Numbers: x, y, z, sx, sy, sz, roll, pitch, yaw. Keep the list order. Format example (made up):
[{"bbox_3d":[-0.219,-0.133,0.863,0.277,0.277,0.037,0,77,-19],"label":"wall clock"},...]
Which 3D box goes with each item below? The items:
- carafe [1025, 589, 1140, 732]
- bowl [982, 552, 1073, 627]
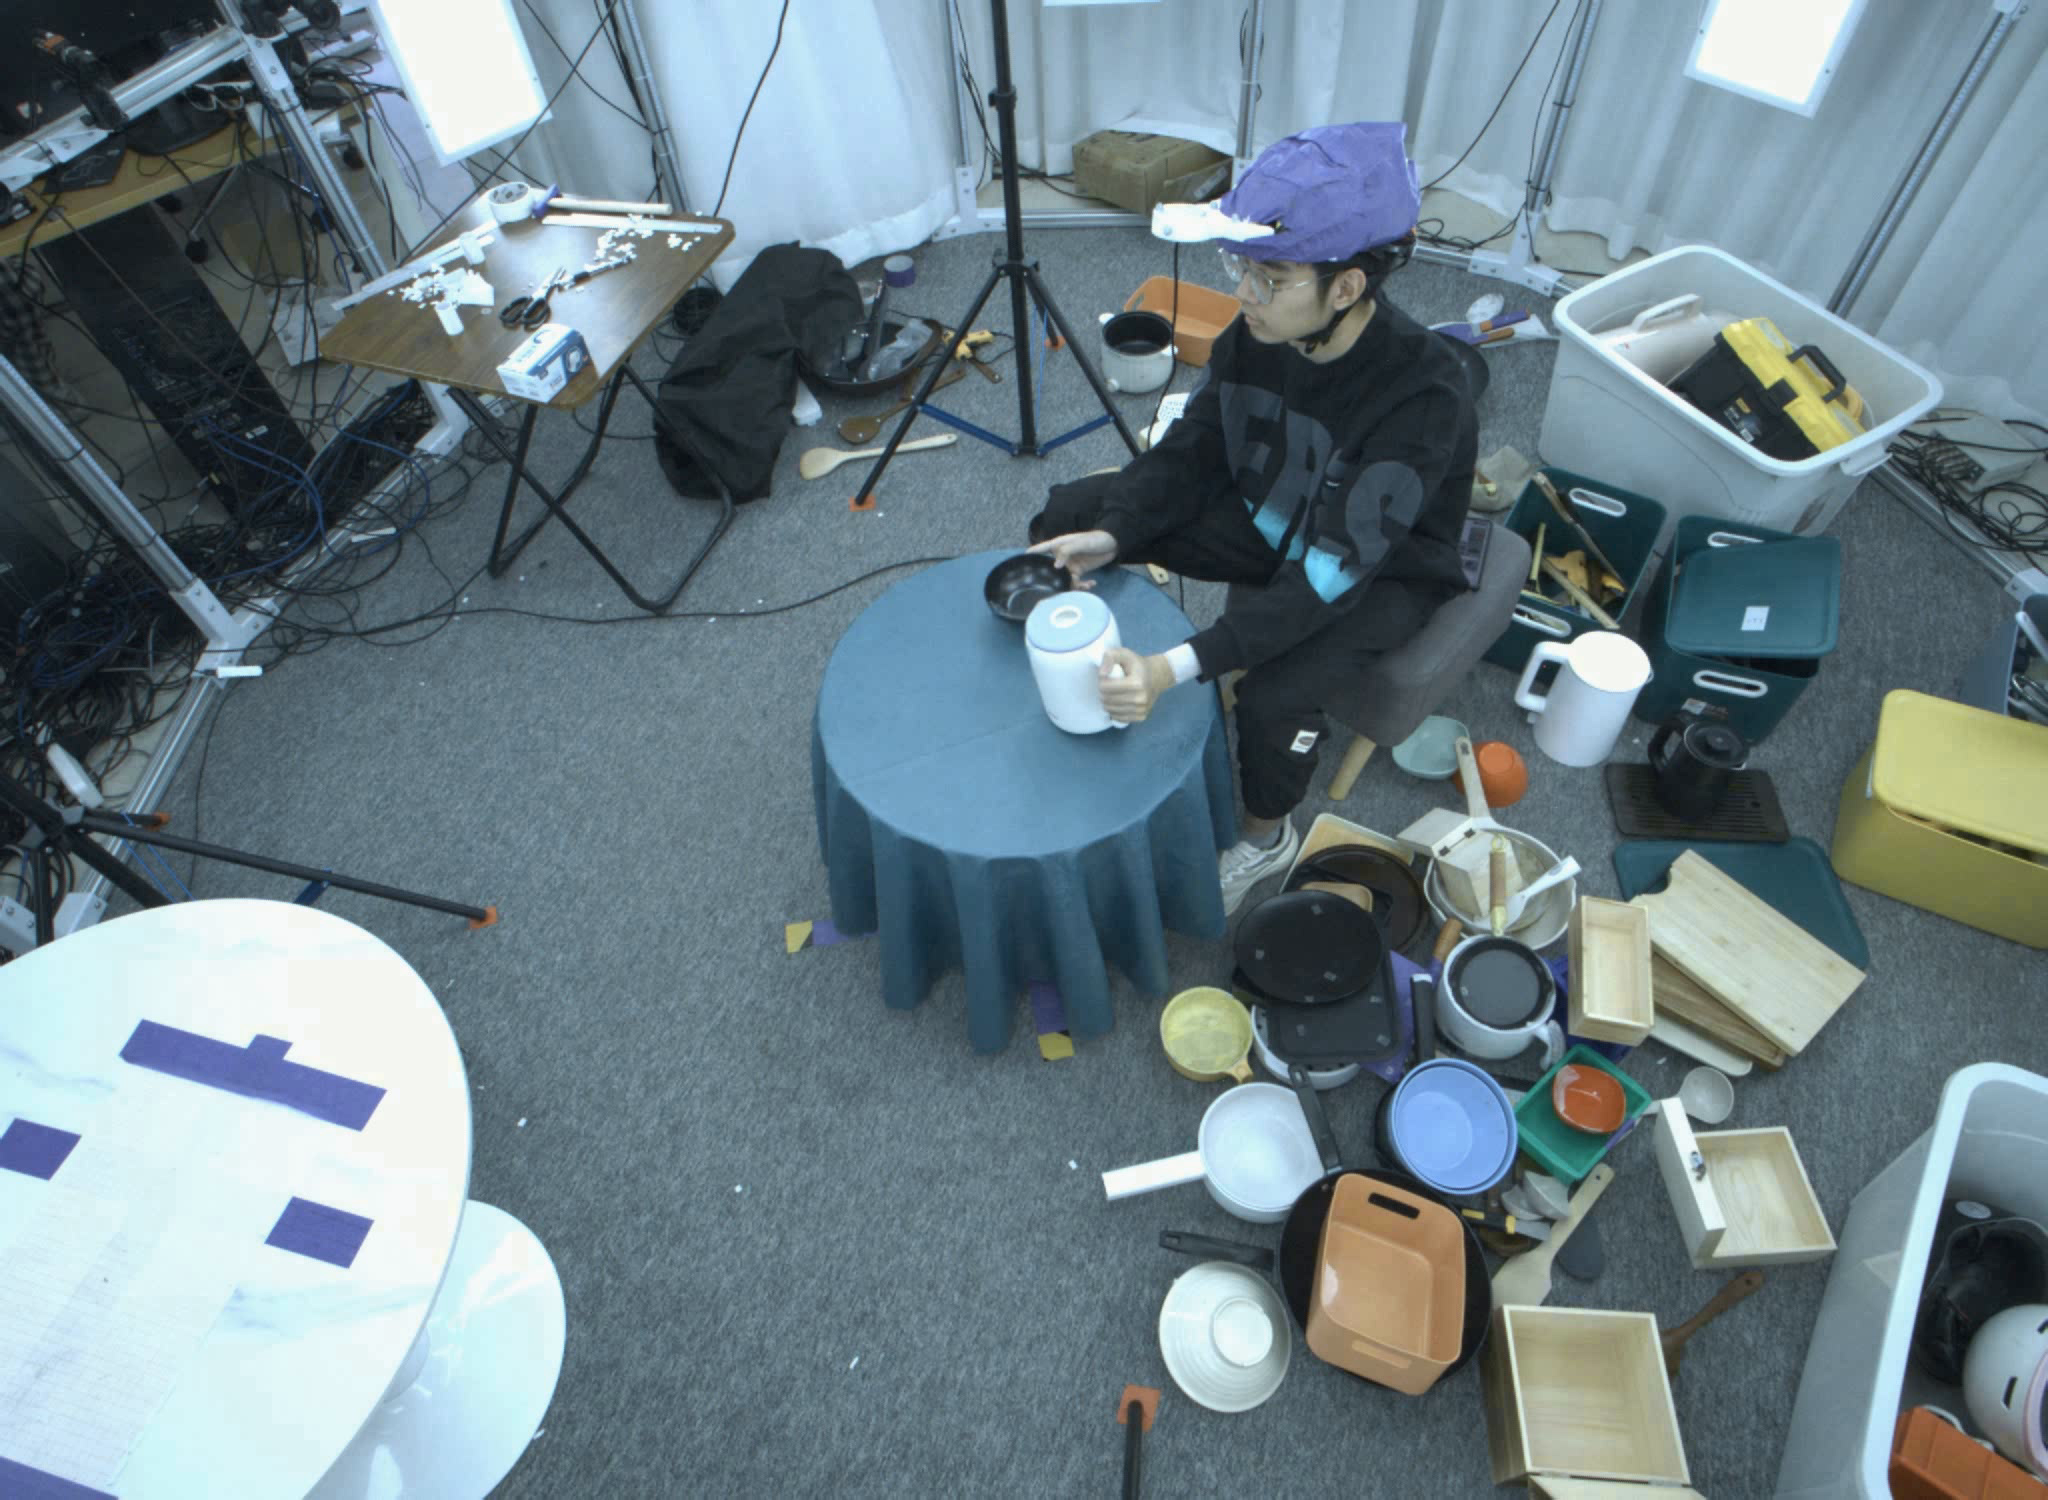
[{"bbox_3d":[0.093,-0.114,1.737,0.133,0.185,0.187,-38,52,-15],"label":"carafe"},{"bbox_3d":[0.007,-0.238,1.893,0.140,0.050,0.138,-1,55,2],"label":"bowl"}]
